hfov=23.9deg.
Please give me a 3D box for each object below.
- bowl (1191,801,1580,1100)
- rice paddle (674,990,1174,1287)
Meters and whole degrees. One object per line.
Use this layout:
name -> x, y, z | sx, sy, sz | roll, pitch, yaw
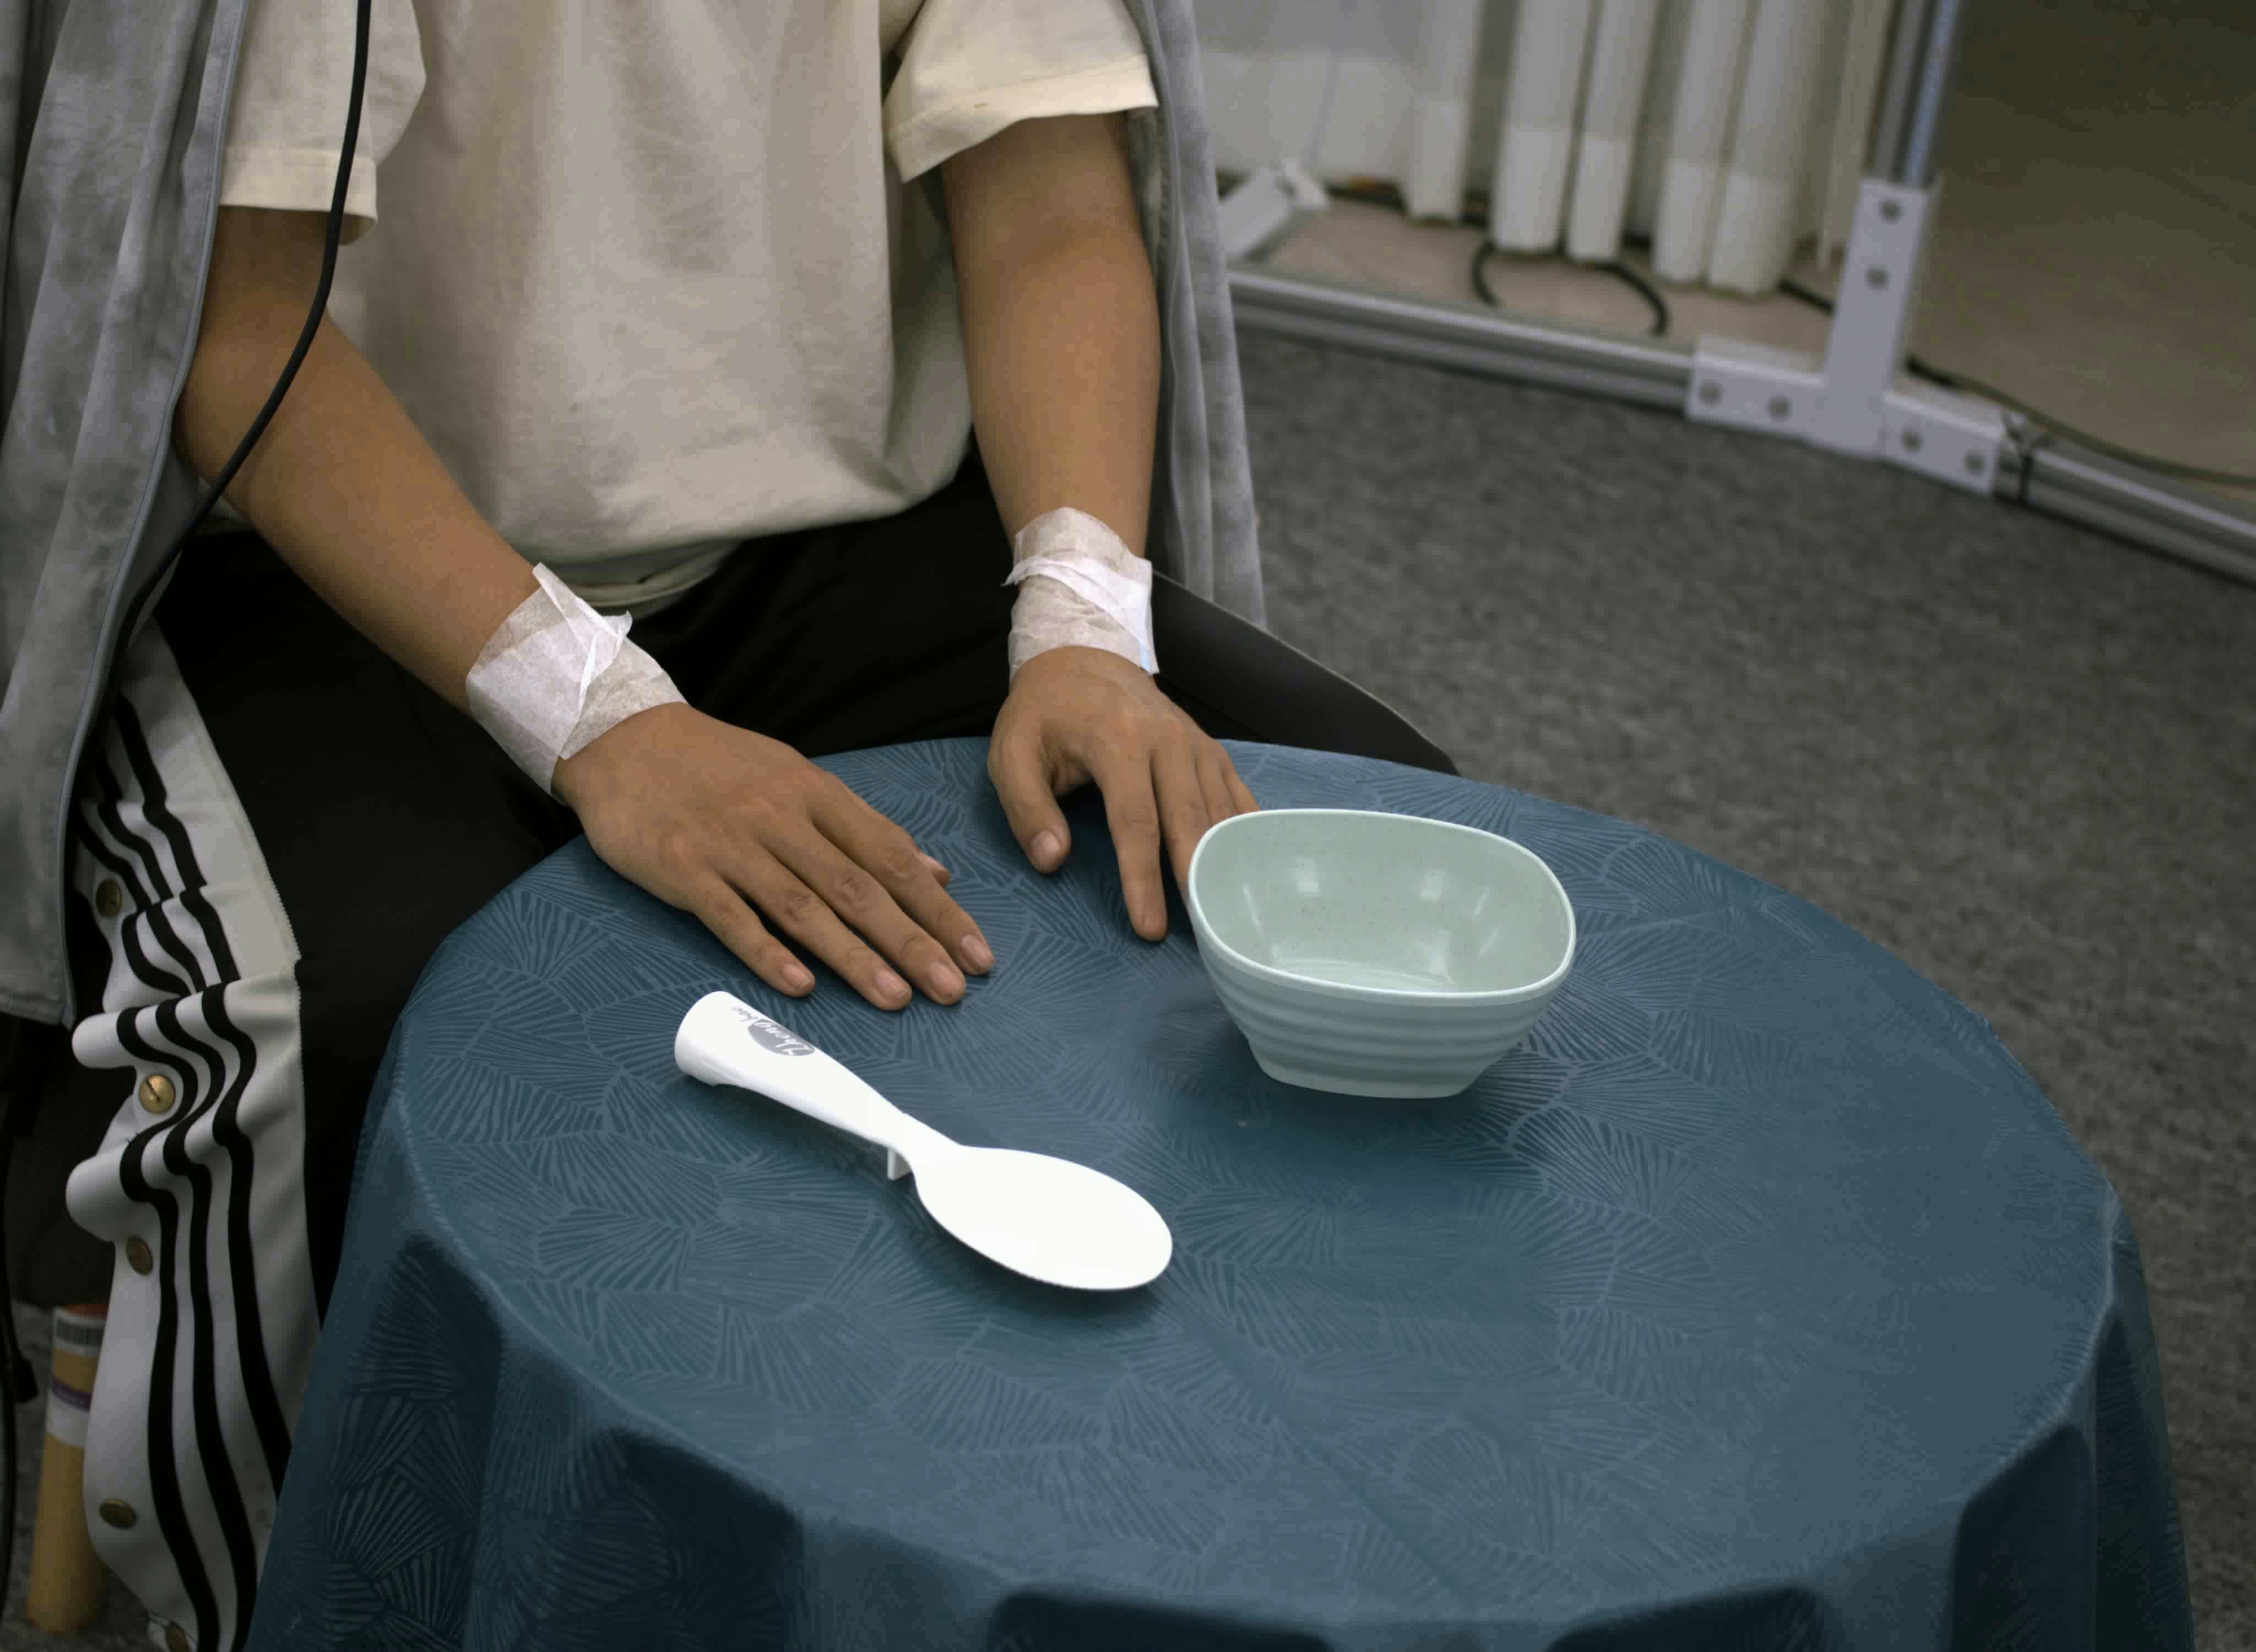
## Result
bowl -> 0.089, 0.050, 1.903 | 0.151, 0.058, 0.152 | 3, 30, -2
rice paddle -> -0.069, 0.107, 1.789 | 0.206, 0.029, 0.068 | 25, 34, 33
